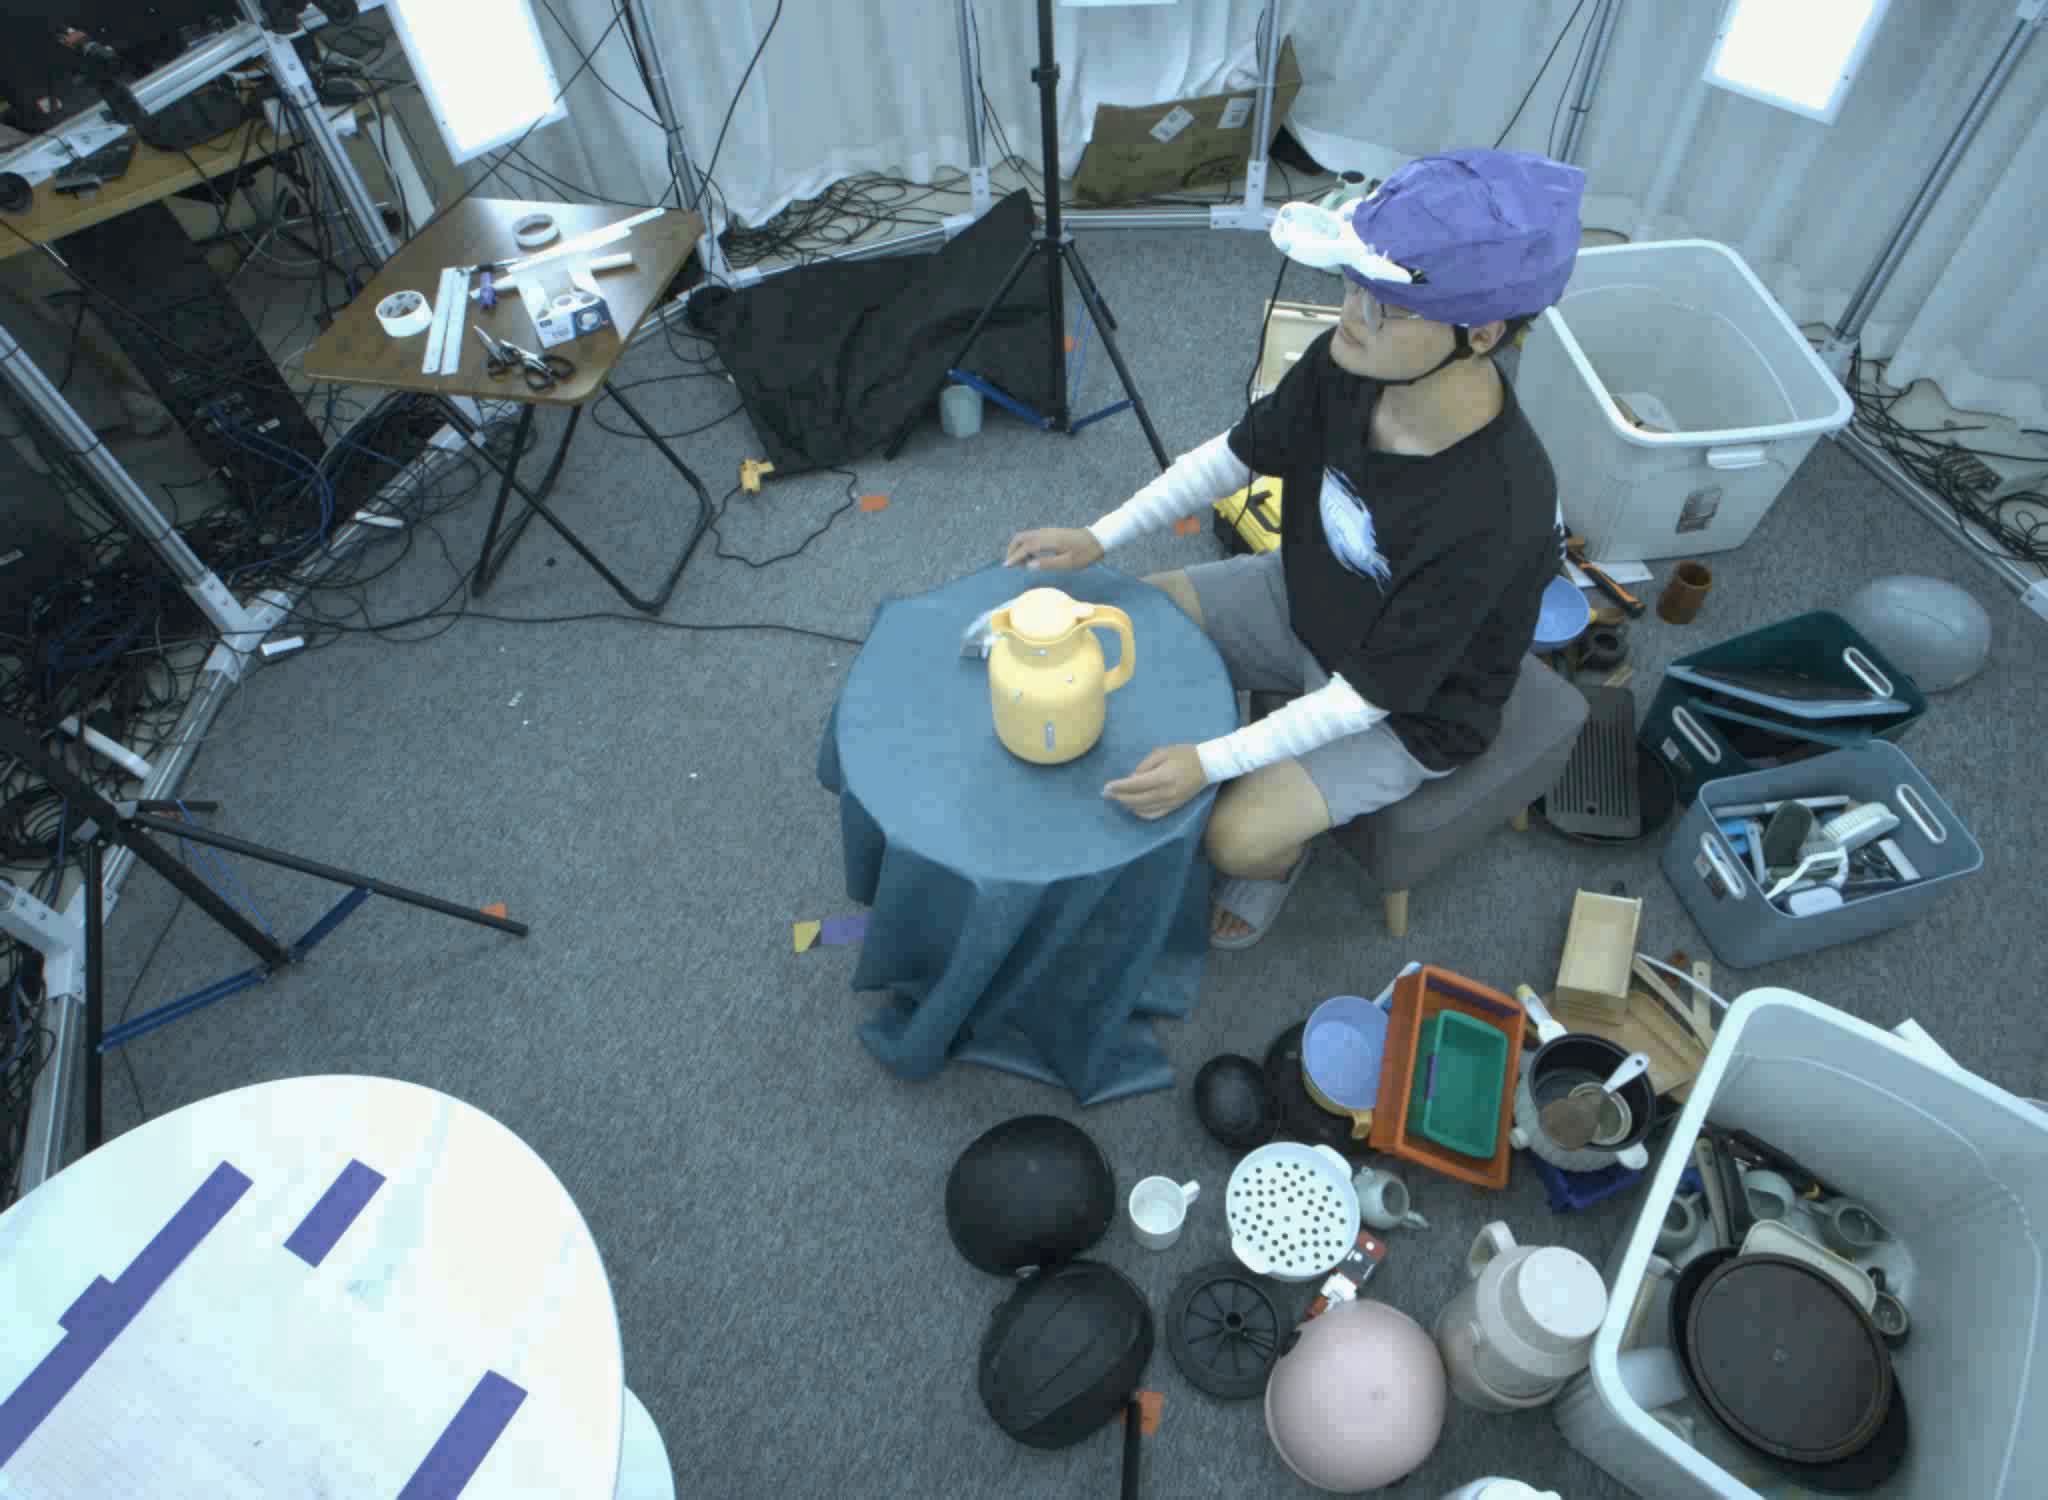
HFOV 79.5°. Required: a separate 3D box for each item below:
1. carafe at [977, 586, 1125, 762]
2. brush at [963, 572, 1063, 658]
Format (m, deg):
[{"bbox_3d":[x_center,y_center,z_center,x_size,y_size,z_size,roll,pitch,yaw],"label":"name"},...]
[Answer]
[{"bbox_3d":[0.039,-0.110,1.695,0.202,0.263,0.161,-4,56,2],"label":"carafe"},{"bbox_3d":[-0.024,-0.210,1.869,0.176,0.095,0.060,-31,53,-12],"label":"brush"}]
